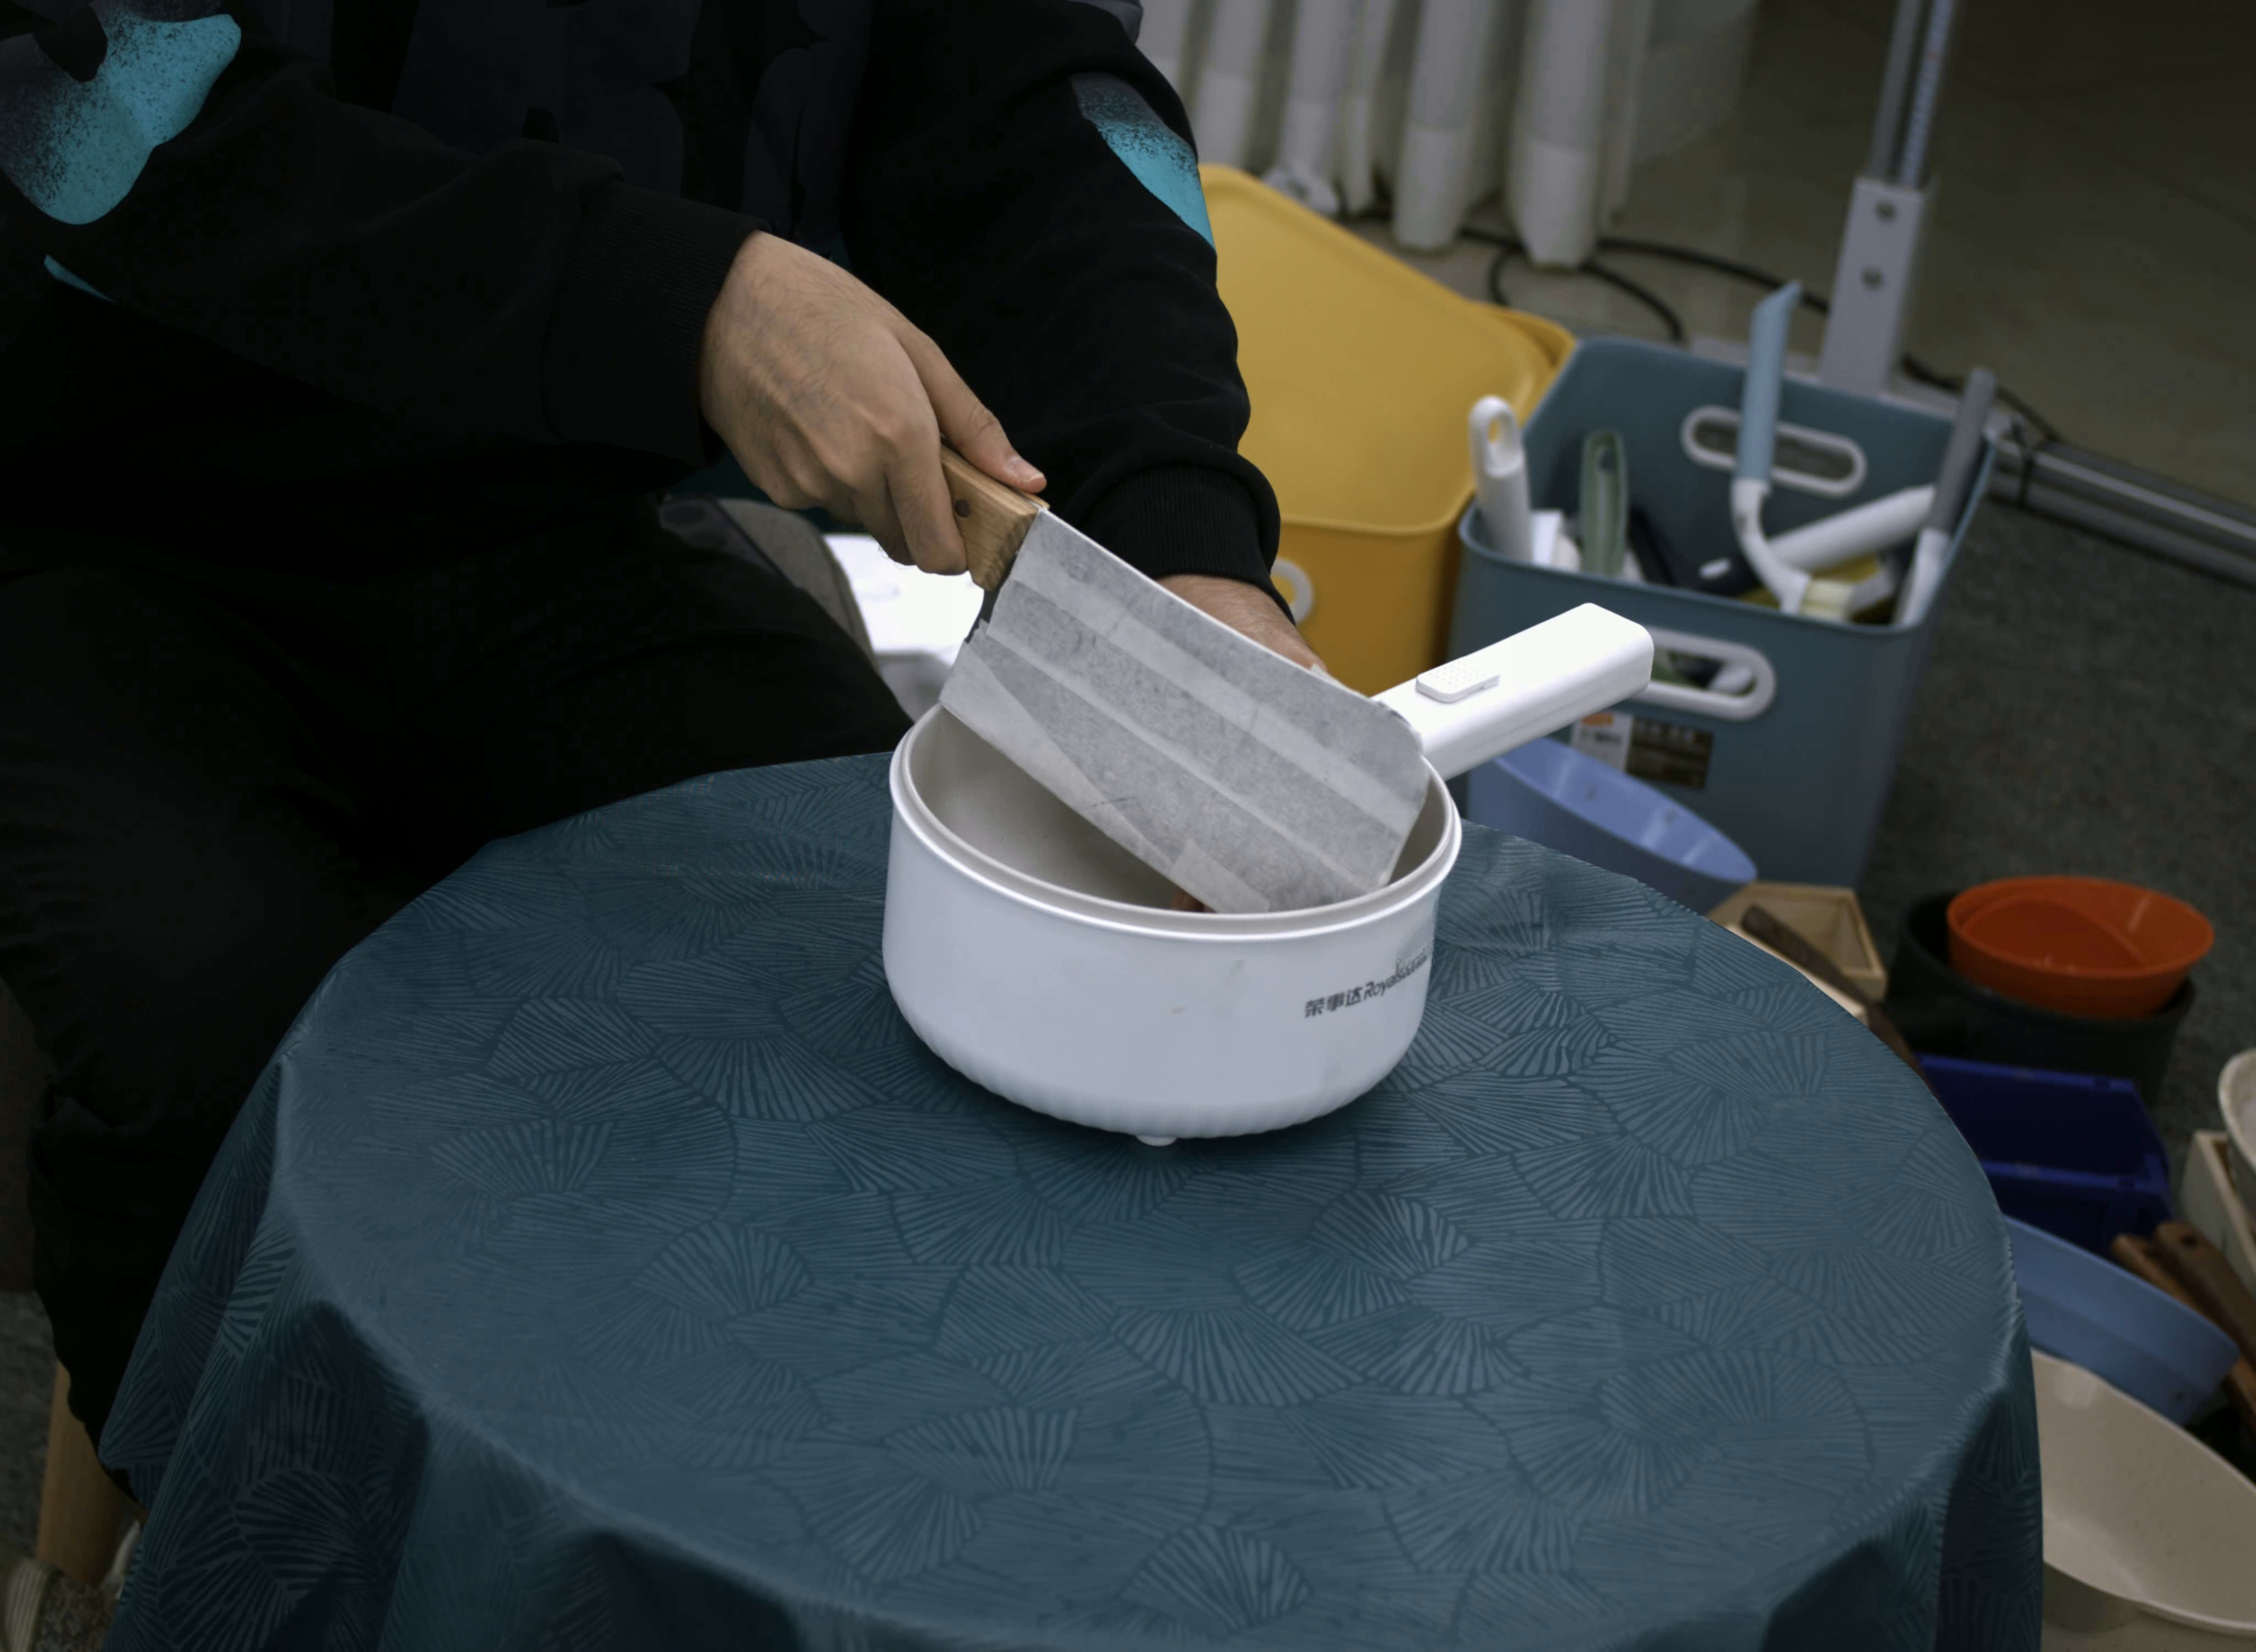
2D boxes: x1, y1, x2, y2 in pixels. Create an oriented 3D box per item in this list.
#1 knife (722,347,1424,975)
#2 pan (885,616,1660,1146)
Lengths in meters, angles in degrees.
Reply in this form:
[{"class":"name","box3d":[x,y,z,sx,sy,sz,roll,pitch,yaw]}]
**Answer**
[{"class":"knife","box3d":[-0.023,-0.070,1.858,0.317,0.114,0.021,39,28,20]},{"class":"pan","box3d":[0.064,0.011,1.932,0.202,0.102,0.353,26,32,36]}]
